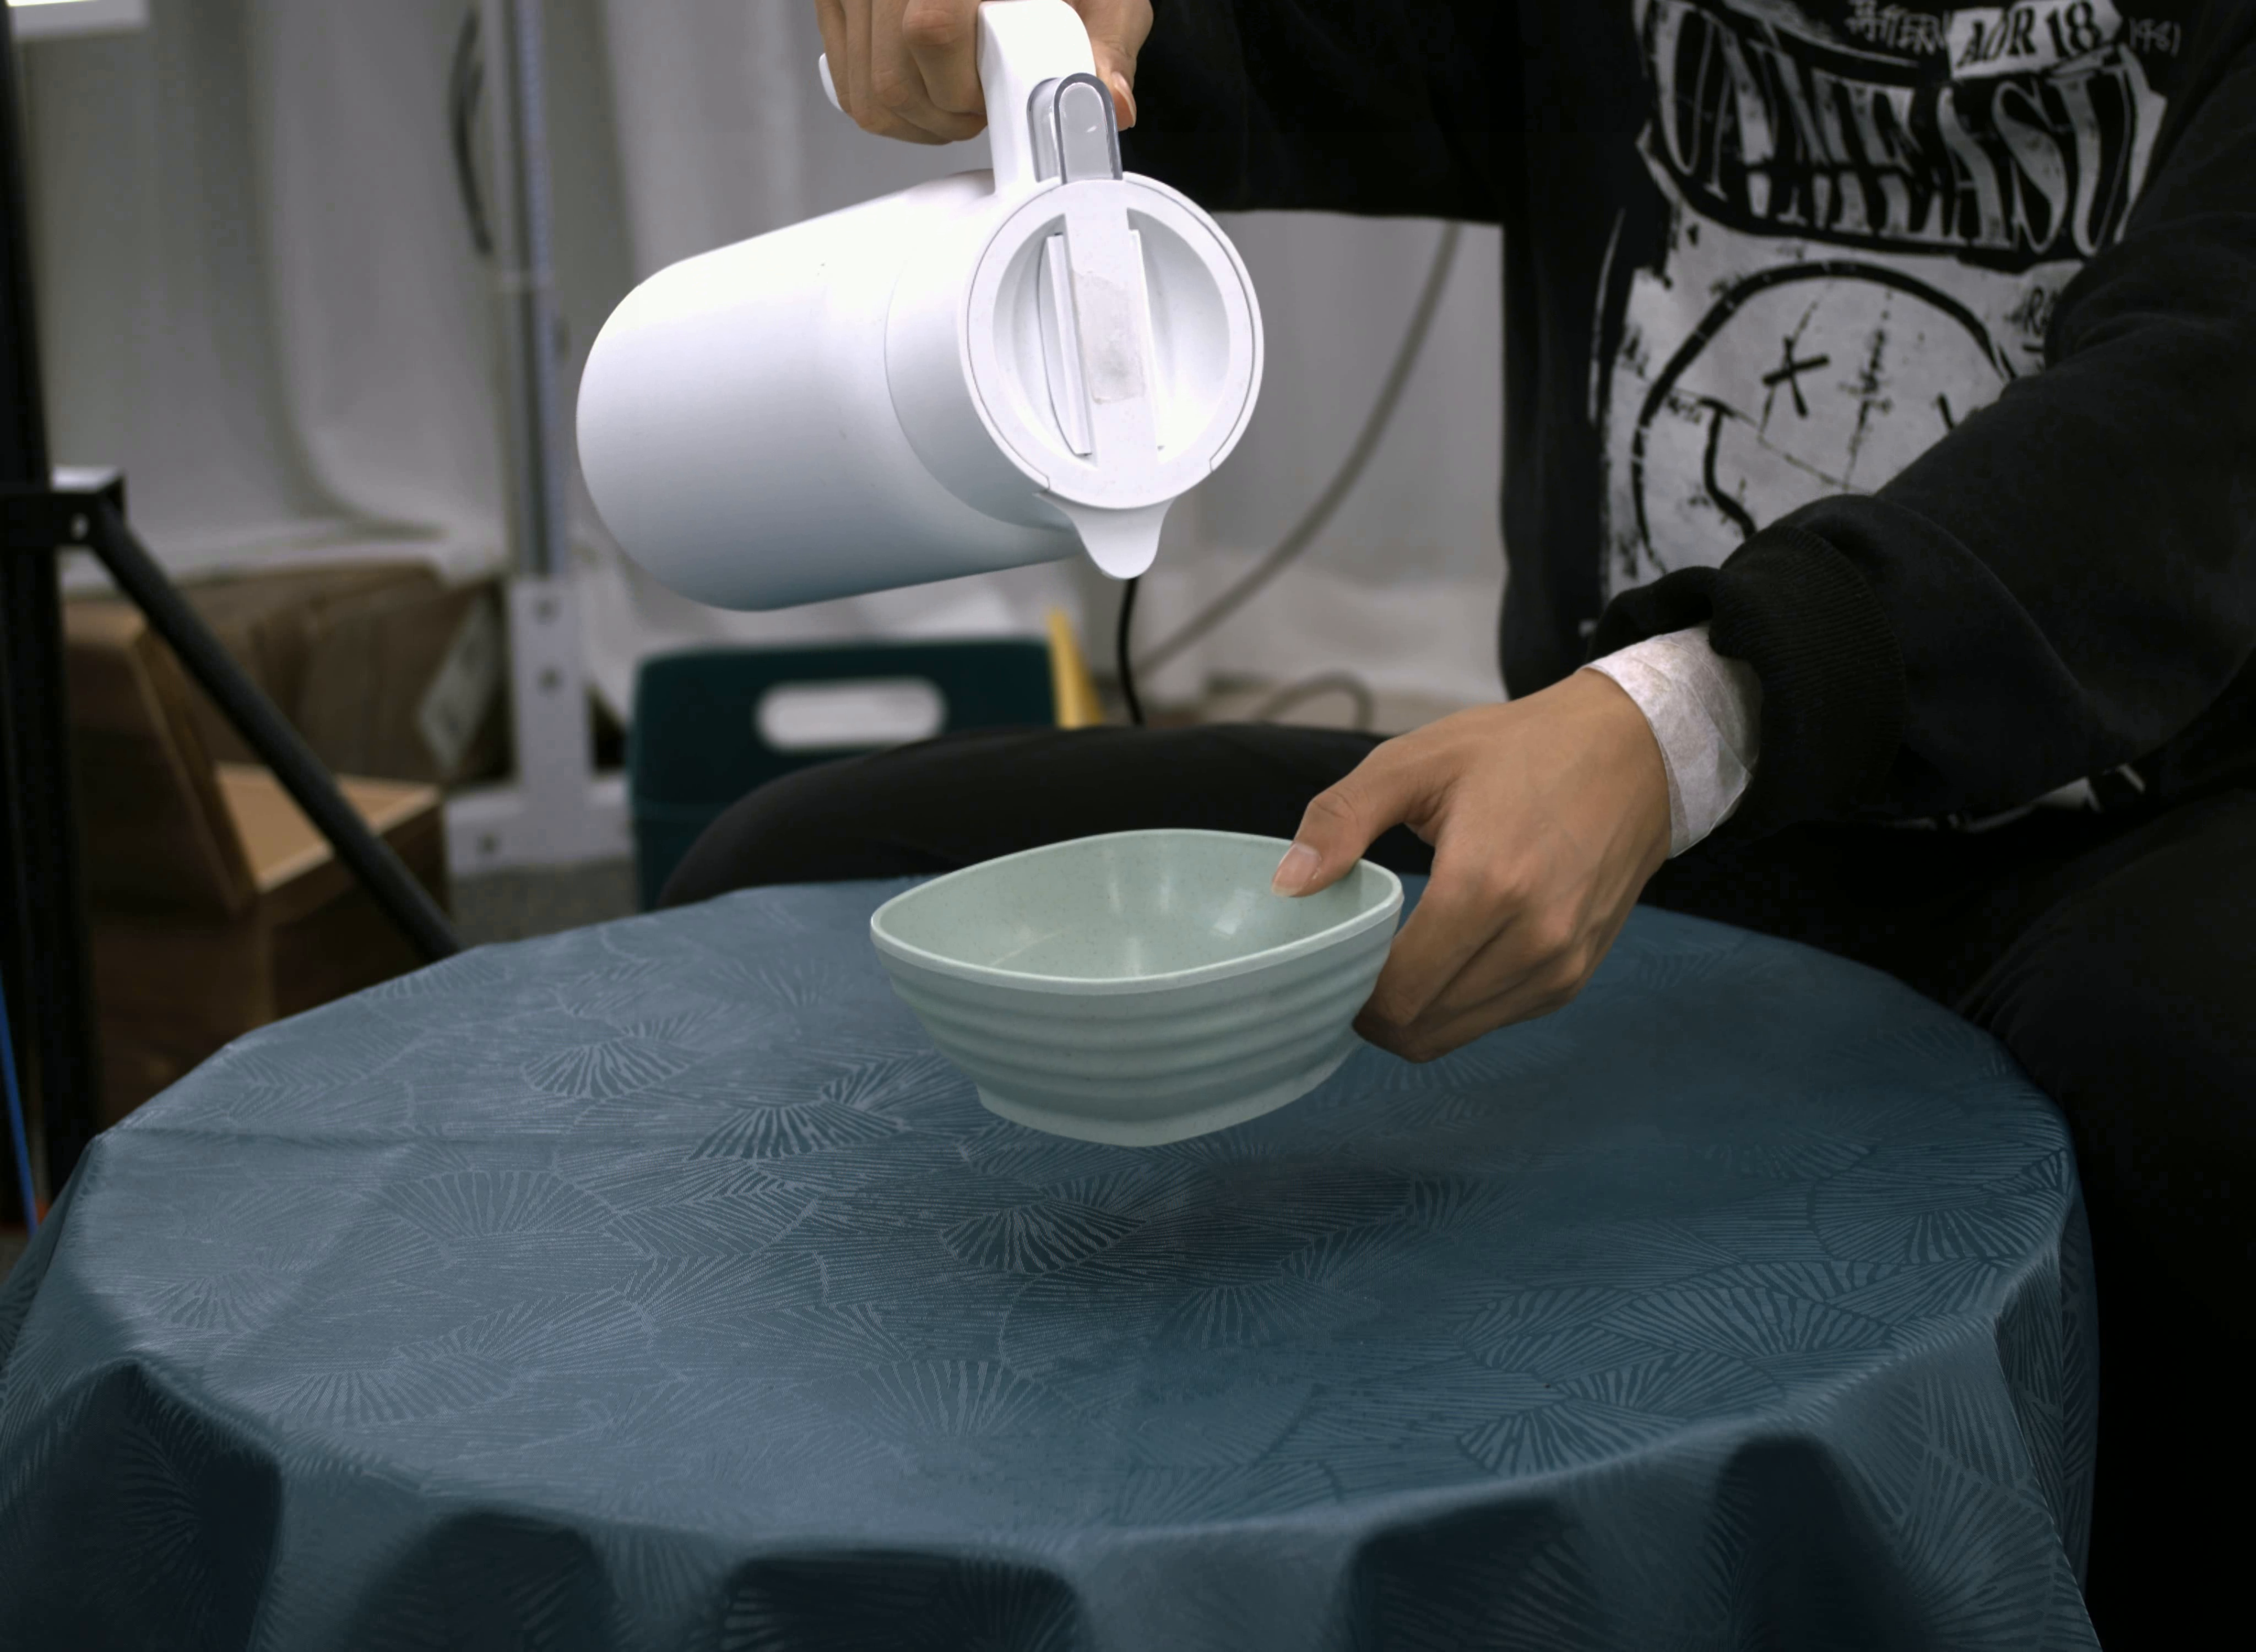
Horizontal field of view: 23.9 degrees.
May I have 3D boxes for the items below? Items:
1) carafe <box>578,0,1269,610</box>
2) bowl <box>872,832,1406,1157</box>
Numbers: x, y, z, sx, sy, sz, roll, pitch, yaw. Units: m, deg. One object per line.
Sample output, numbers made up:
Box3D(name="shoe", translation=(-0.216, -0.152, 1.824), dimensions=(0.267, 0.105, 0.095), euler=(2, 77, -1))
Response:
Box3D(name="carafe", translation=(-0.068, -0.150, 1.613), dimensions=(0.121, 0.173, 0.273), euler=(-9, 1, -26))
Box3D(name="bowl", translation=(0.005, 0.050, 1.500), dimensions=(0.151, 0.058, 0.152), euler=(-5, 15, 0))
